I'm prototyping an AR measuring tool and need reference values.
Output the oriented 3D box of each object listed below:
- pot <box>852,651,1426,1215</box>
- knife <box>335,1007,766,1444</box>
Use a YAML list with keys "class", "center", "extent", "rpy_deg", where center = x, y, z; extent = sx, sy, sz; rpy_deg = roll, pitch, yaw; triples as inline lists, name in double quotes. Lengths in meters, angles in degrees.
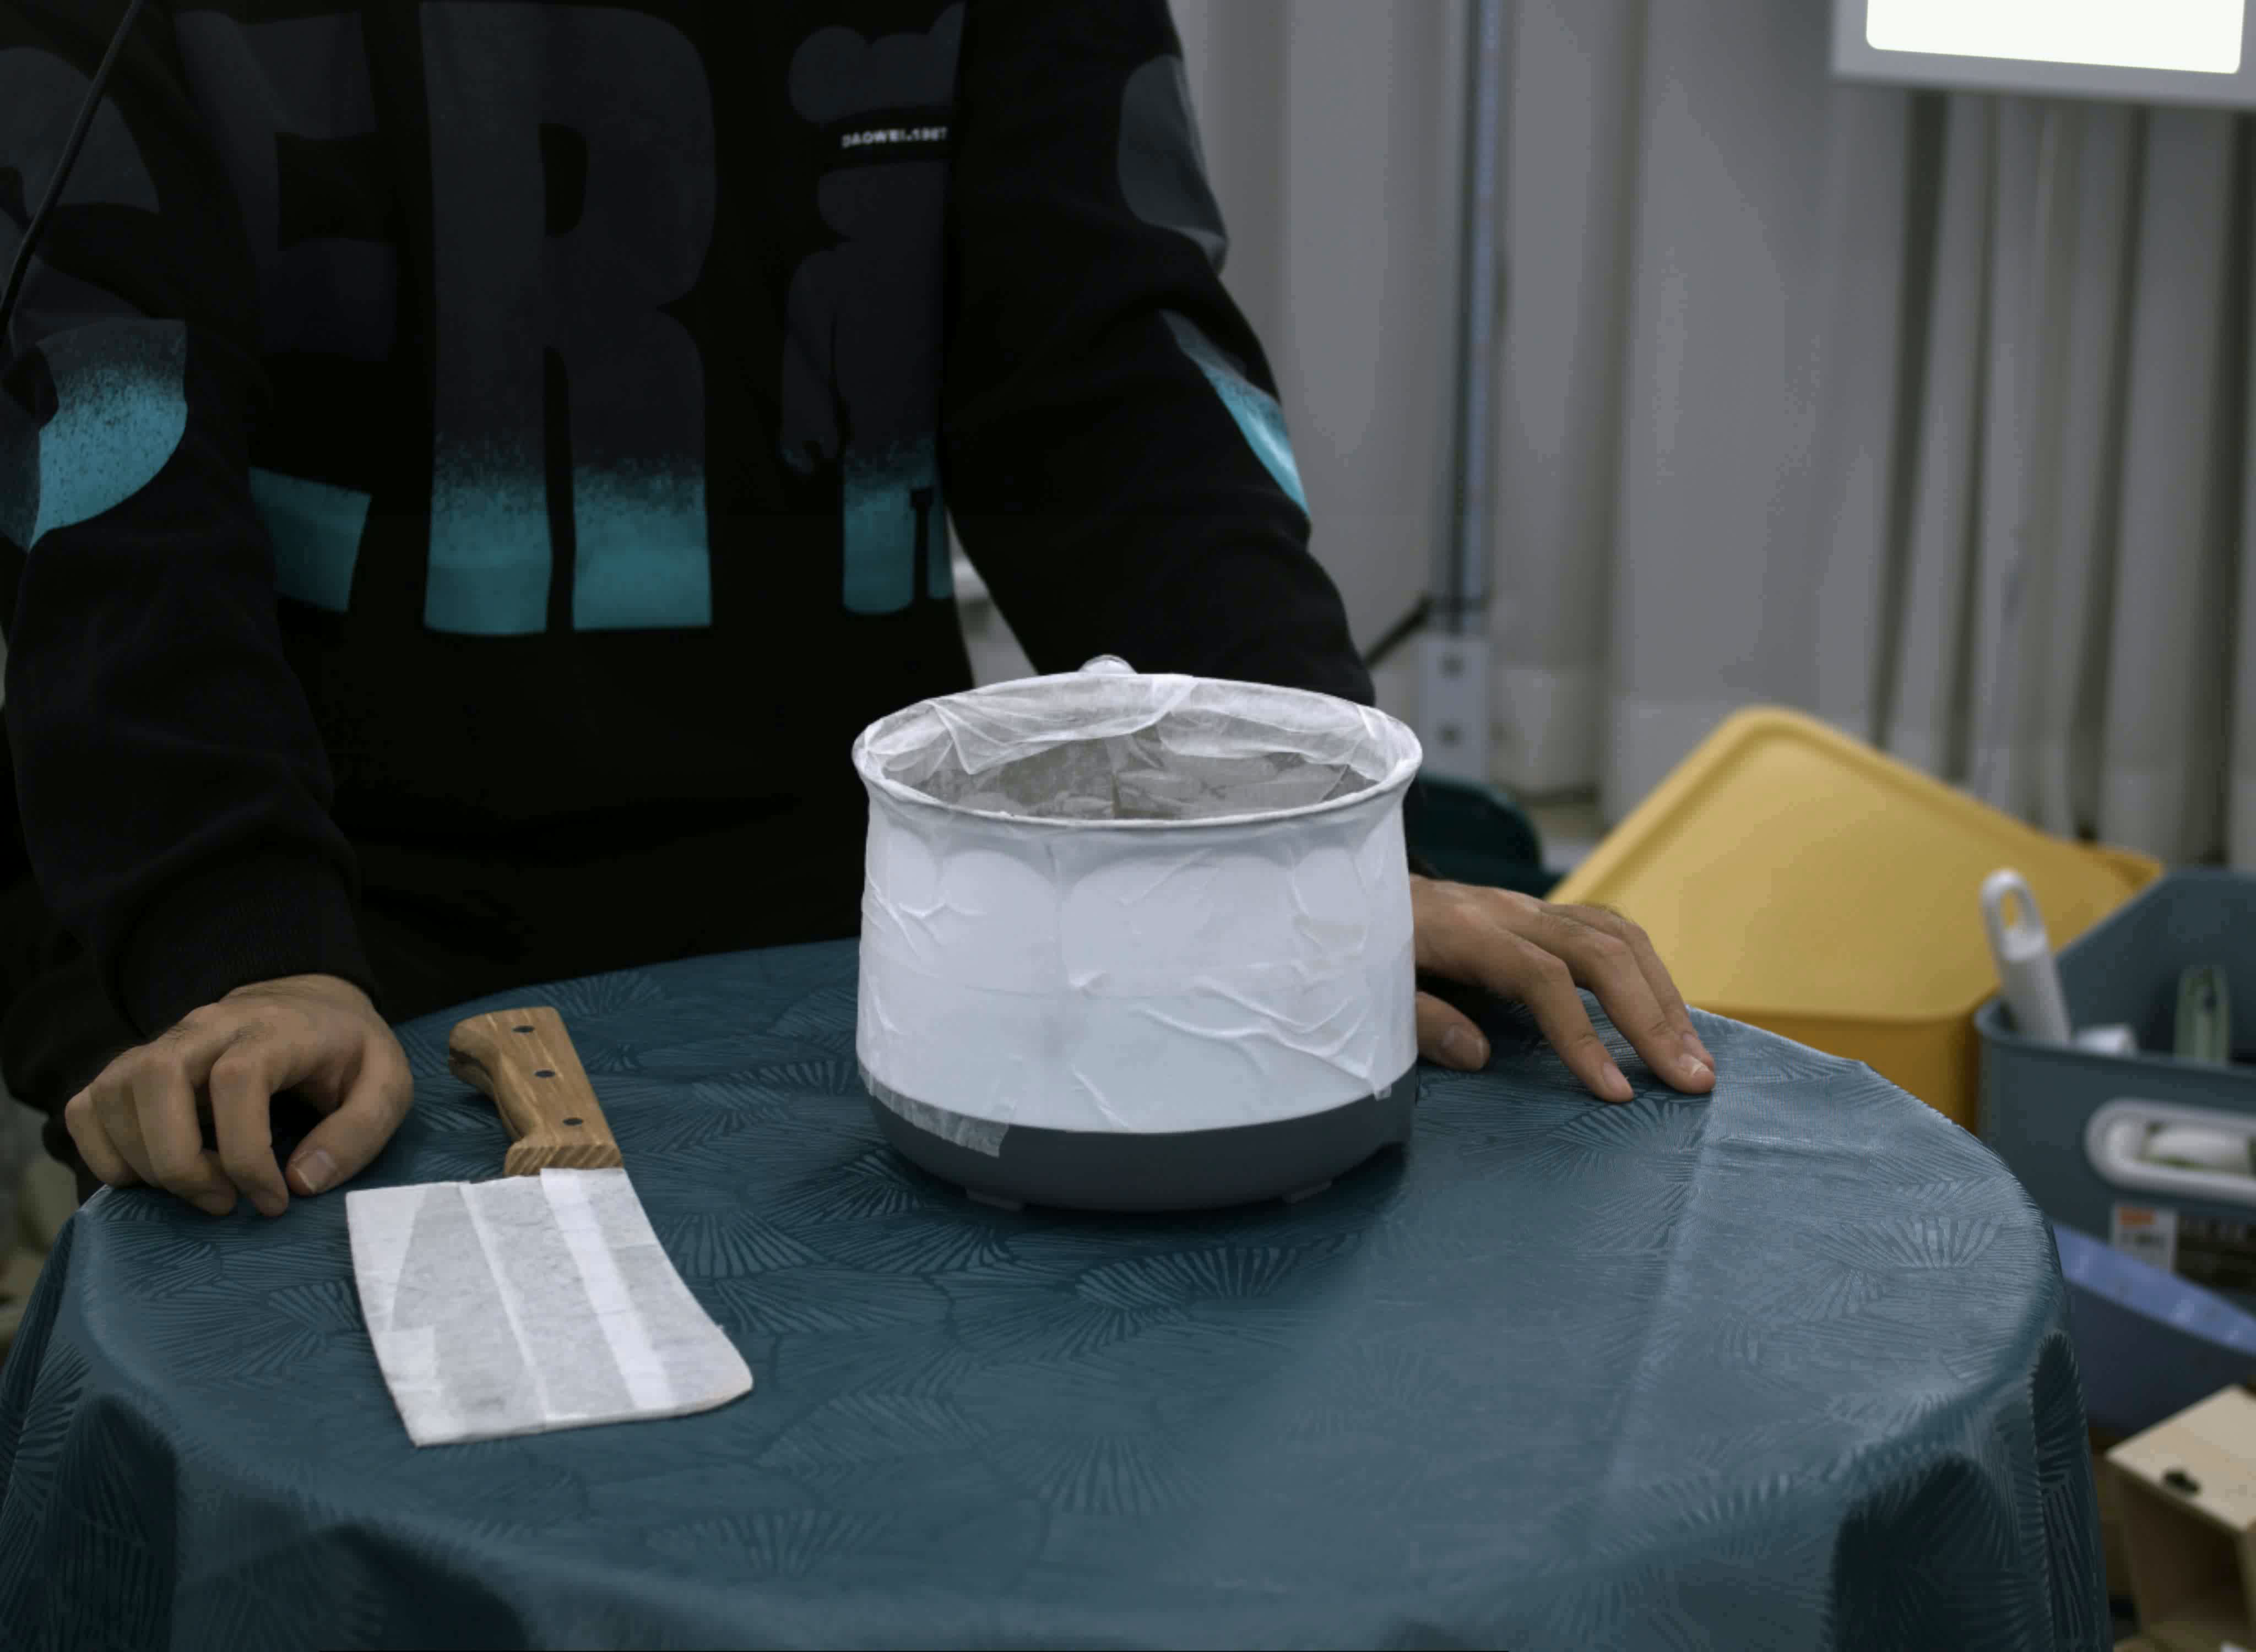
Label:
- class: "pot"
  center: [0.000, 0.029, 1.667]
  extent: [0.178, 0.138, 0.232]
  rpy_deg: [-1, 17, -7]
- class: "knife"
  center: [-0.179, 0.116, 1.570]
  extent: [0.114, 0.022, 0.312]
  rpy_deg: [-3, 19, -10]
